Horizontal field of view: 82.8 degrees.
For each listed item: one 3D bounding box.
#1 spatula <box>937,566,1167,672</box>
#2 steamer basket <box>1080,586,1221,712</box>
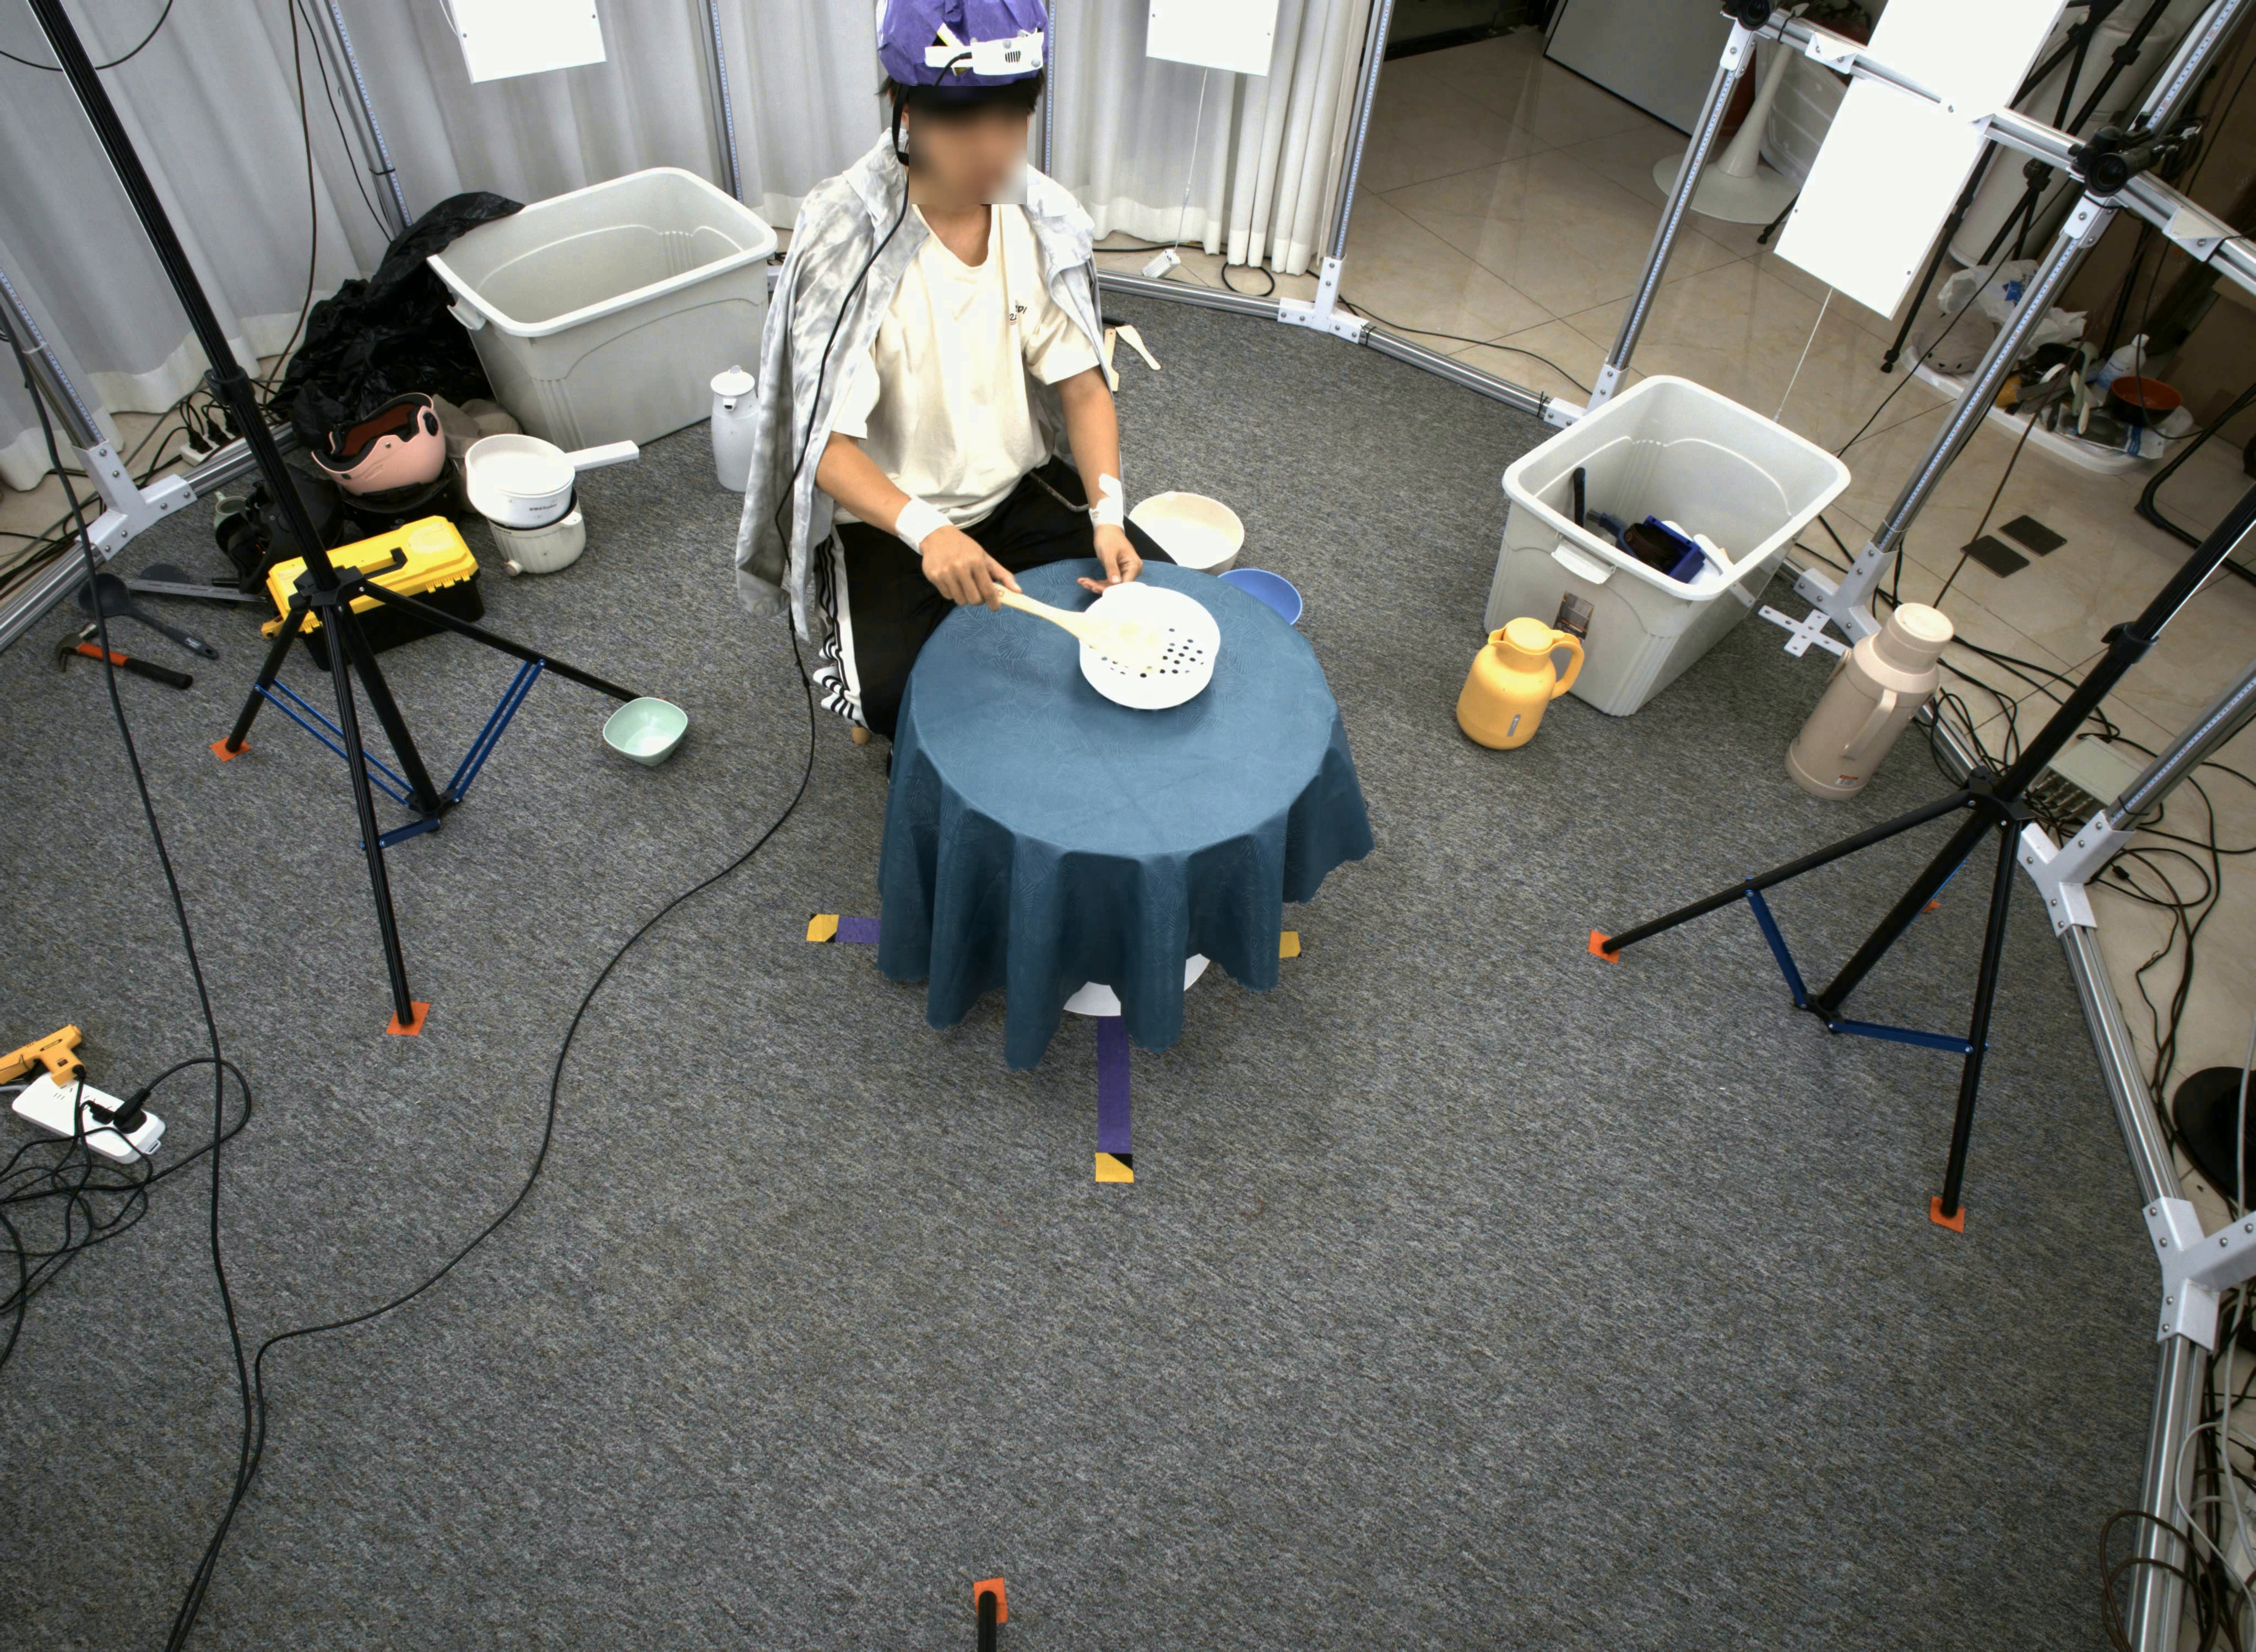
[{"bbox_3d":[-0.098,-0.291,1.742,0.326,0.016,0.081,18,69,-6],"label":"spatula"},{"bbox_3d":[0.030,-0.250,1.838,0.202,0.067,0.236,-12,50,-16],"label":"steamer basket"}]
